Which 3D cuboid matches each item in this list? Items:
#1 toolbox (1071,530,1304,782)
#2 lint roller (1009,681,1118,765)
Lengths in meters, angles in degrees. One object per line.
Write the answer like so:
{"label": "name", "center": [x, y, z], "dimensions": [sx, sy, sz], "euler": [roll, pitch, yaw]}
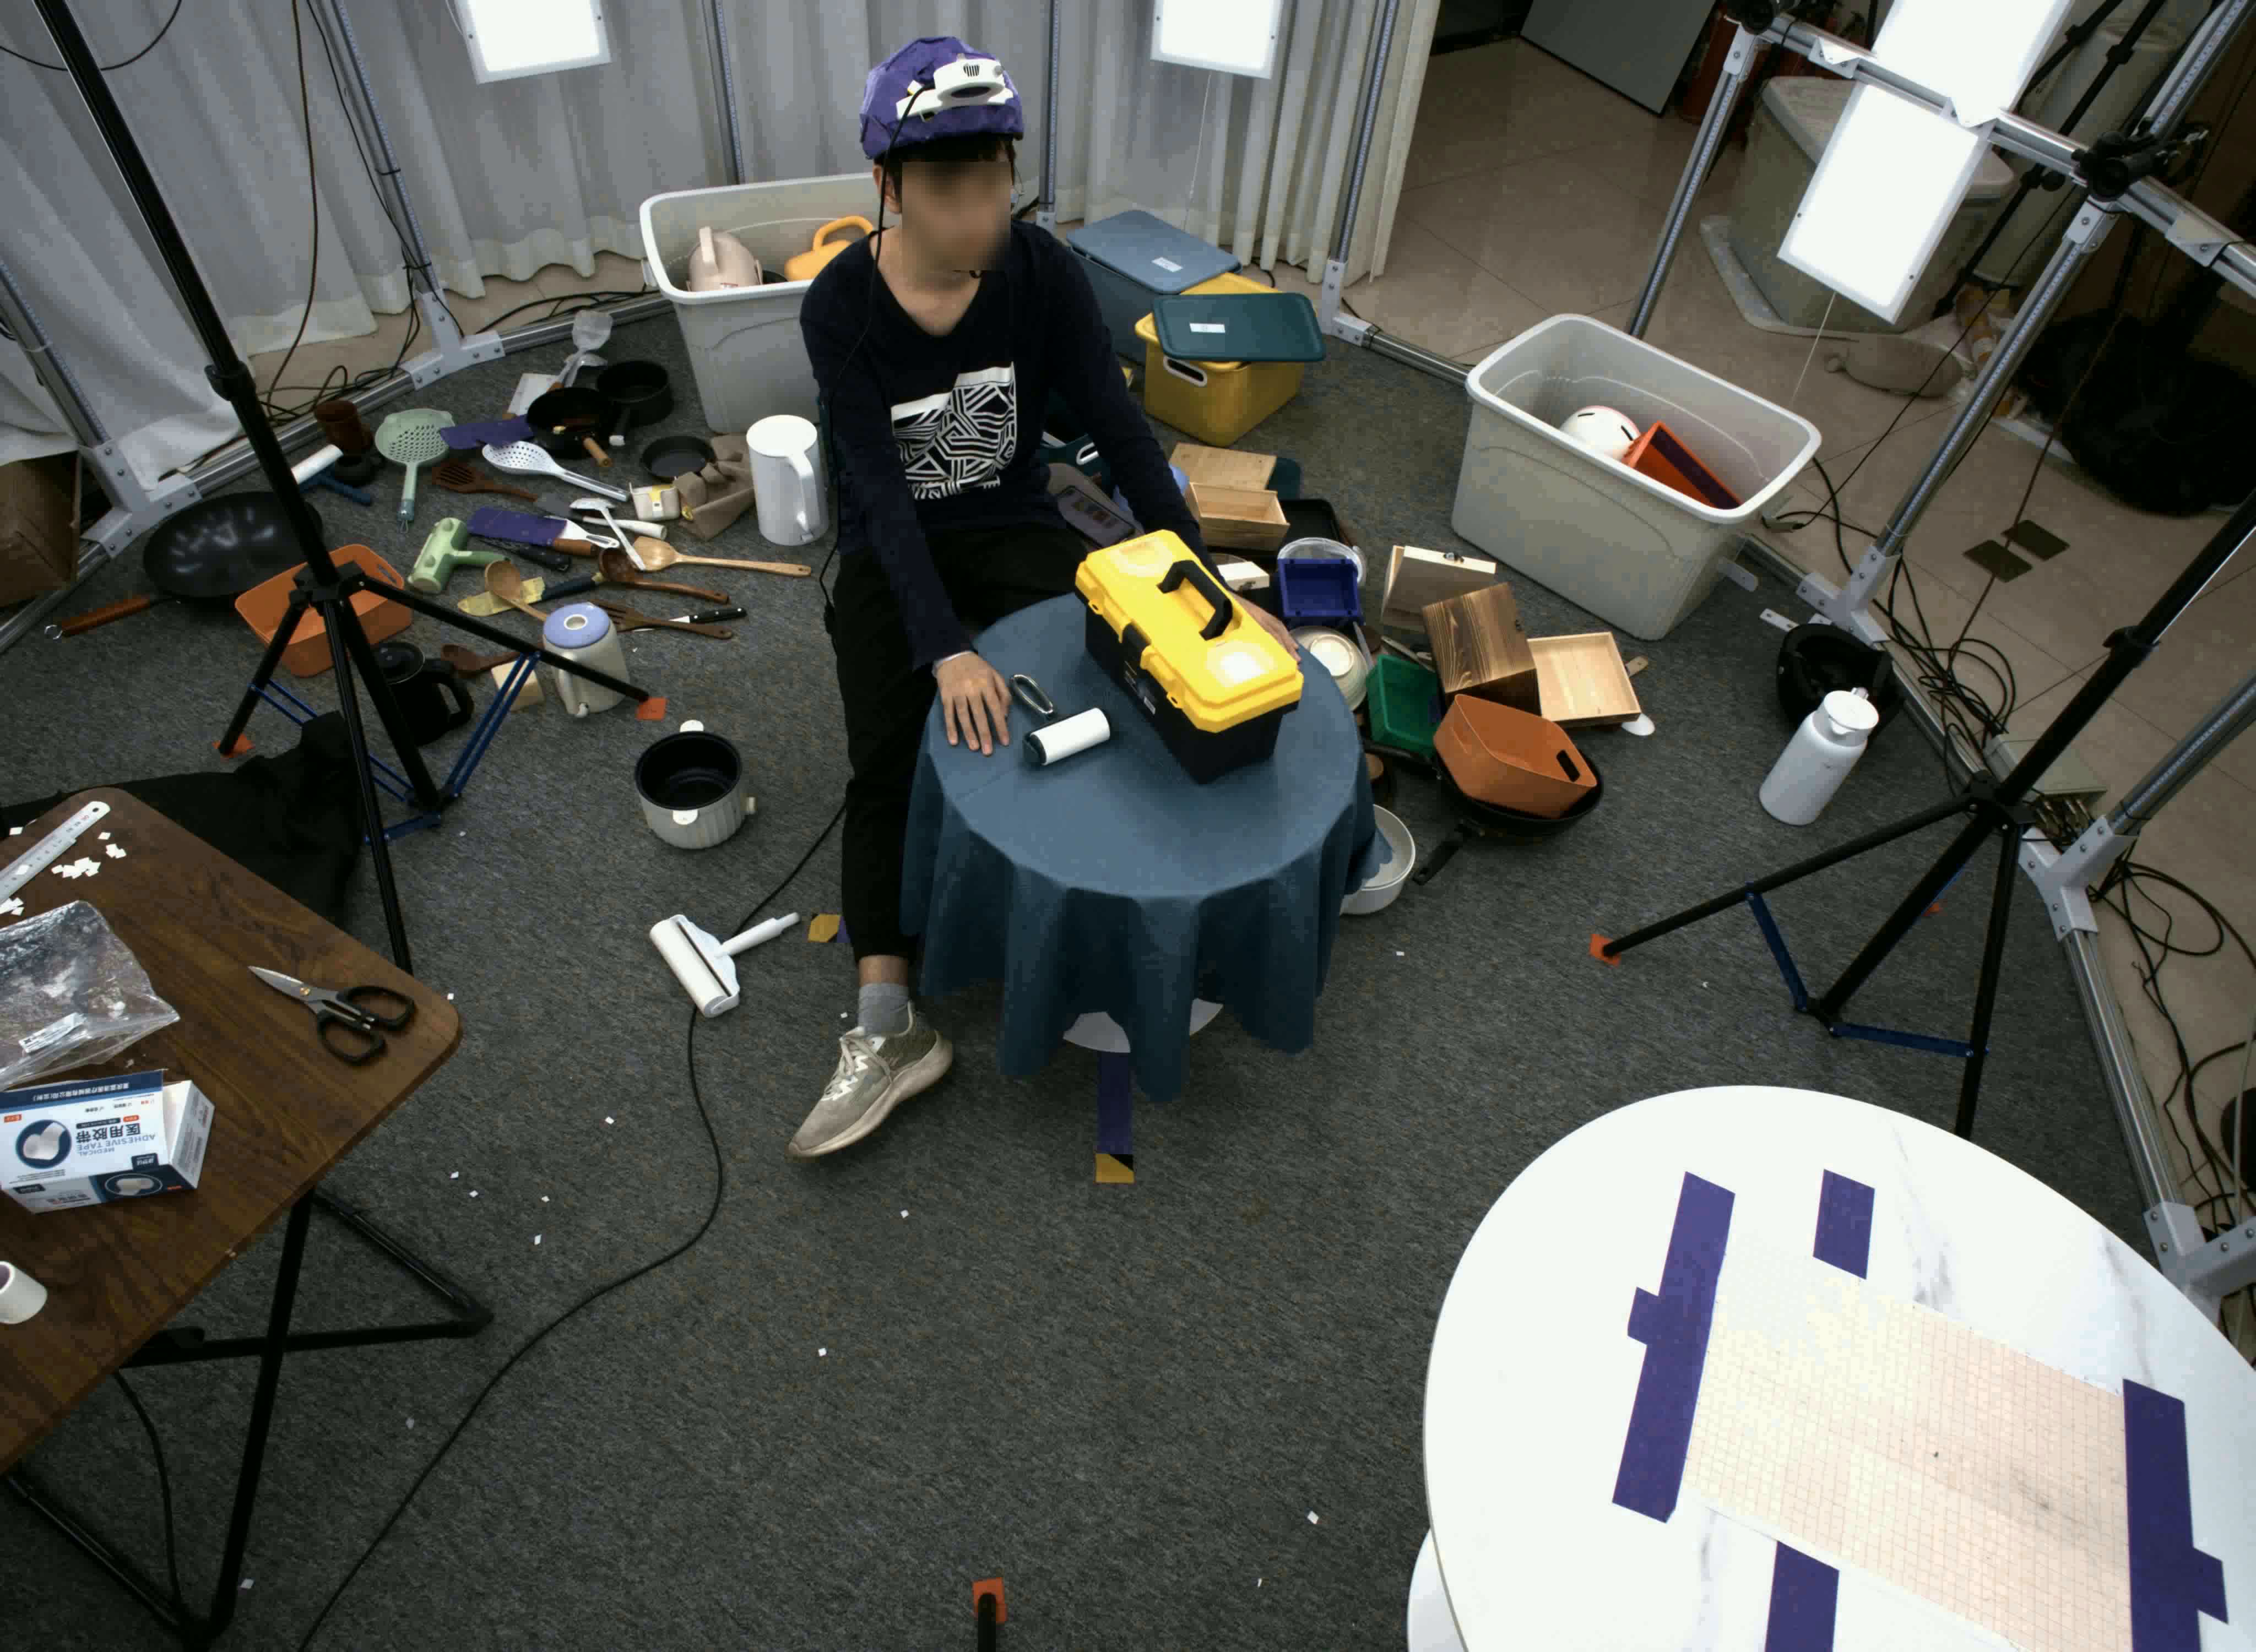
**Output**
{"label": "toolbox", "center": [0.073, -0.235, 1.765], "dimensions": [0.182, 0.168, 0.359], "euler": [-22, 54, -22]}
{"label": "lint roller", "center": [-0.115, -0.164, 1.777], "dimensions": [0.135, 0.047, 0.184], "euler": [-24, 51, -21]}
